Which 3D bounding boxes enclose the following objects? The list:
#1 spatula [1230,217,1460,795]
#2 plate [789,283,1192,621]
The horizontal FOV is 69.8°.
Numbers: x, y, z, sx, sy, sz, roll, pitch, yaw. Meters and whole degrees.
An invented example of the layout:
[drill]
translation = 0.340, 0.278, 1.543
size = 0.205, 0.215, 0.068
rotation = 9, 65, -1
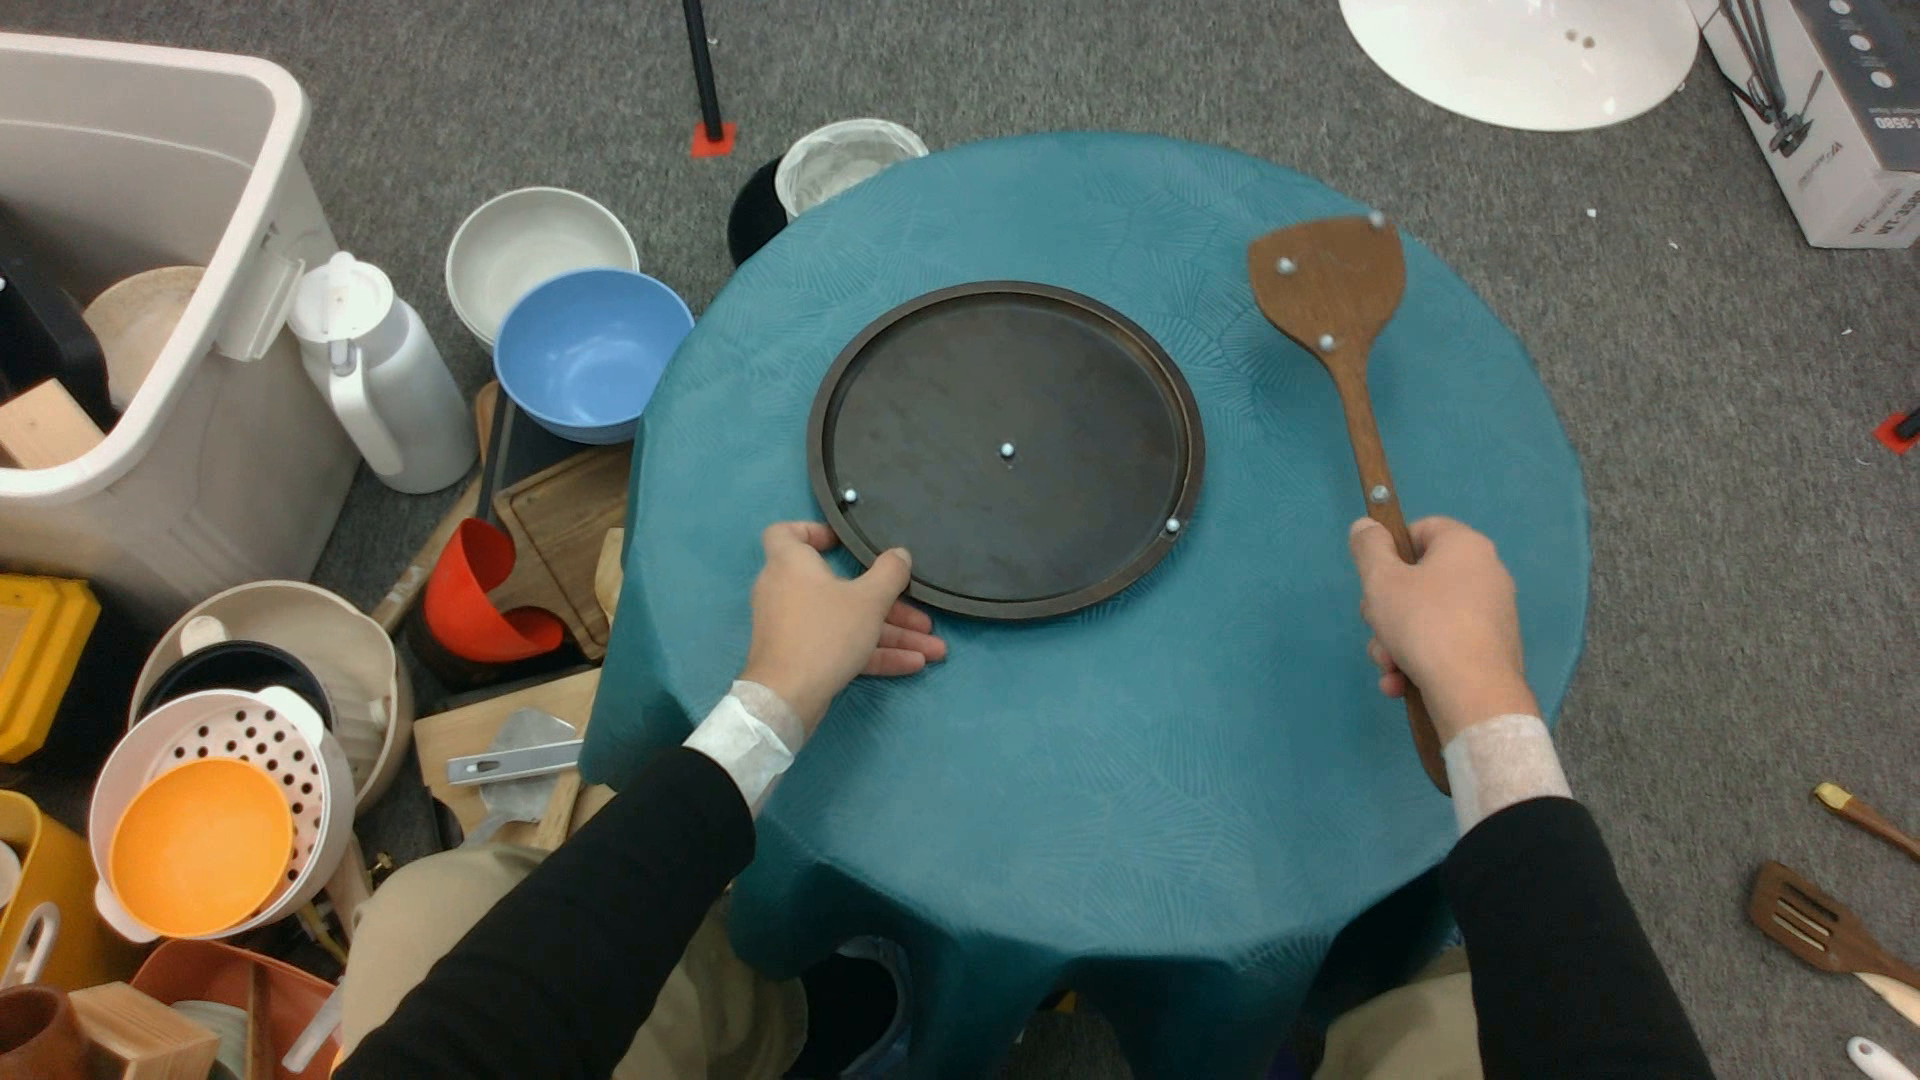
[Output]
[spatula]
translation = 0.228, -0.039, 0.788
size = 0.096, 0.016, 0.387
rotation = -8, 58, 7
[plate]
translation = 0.019, -0.061, 0.872
size = 0.255, 0.029, 0.256
rotation = 2, 60, -3
